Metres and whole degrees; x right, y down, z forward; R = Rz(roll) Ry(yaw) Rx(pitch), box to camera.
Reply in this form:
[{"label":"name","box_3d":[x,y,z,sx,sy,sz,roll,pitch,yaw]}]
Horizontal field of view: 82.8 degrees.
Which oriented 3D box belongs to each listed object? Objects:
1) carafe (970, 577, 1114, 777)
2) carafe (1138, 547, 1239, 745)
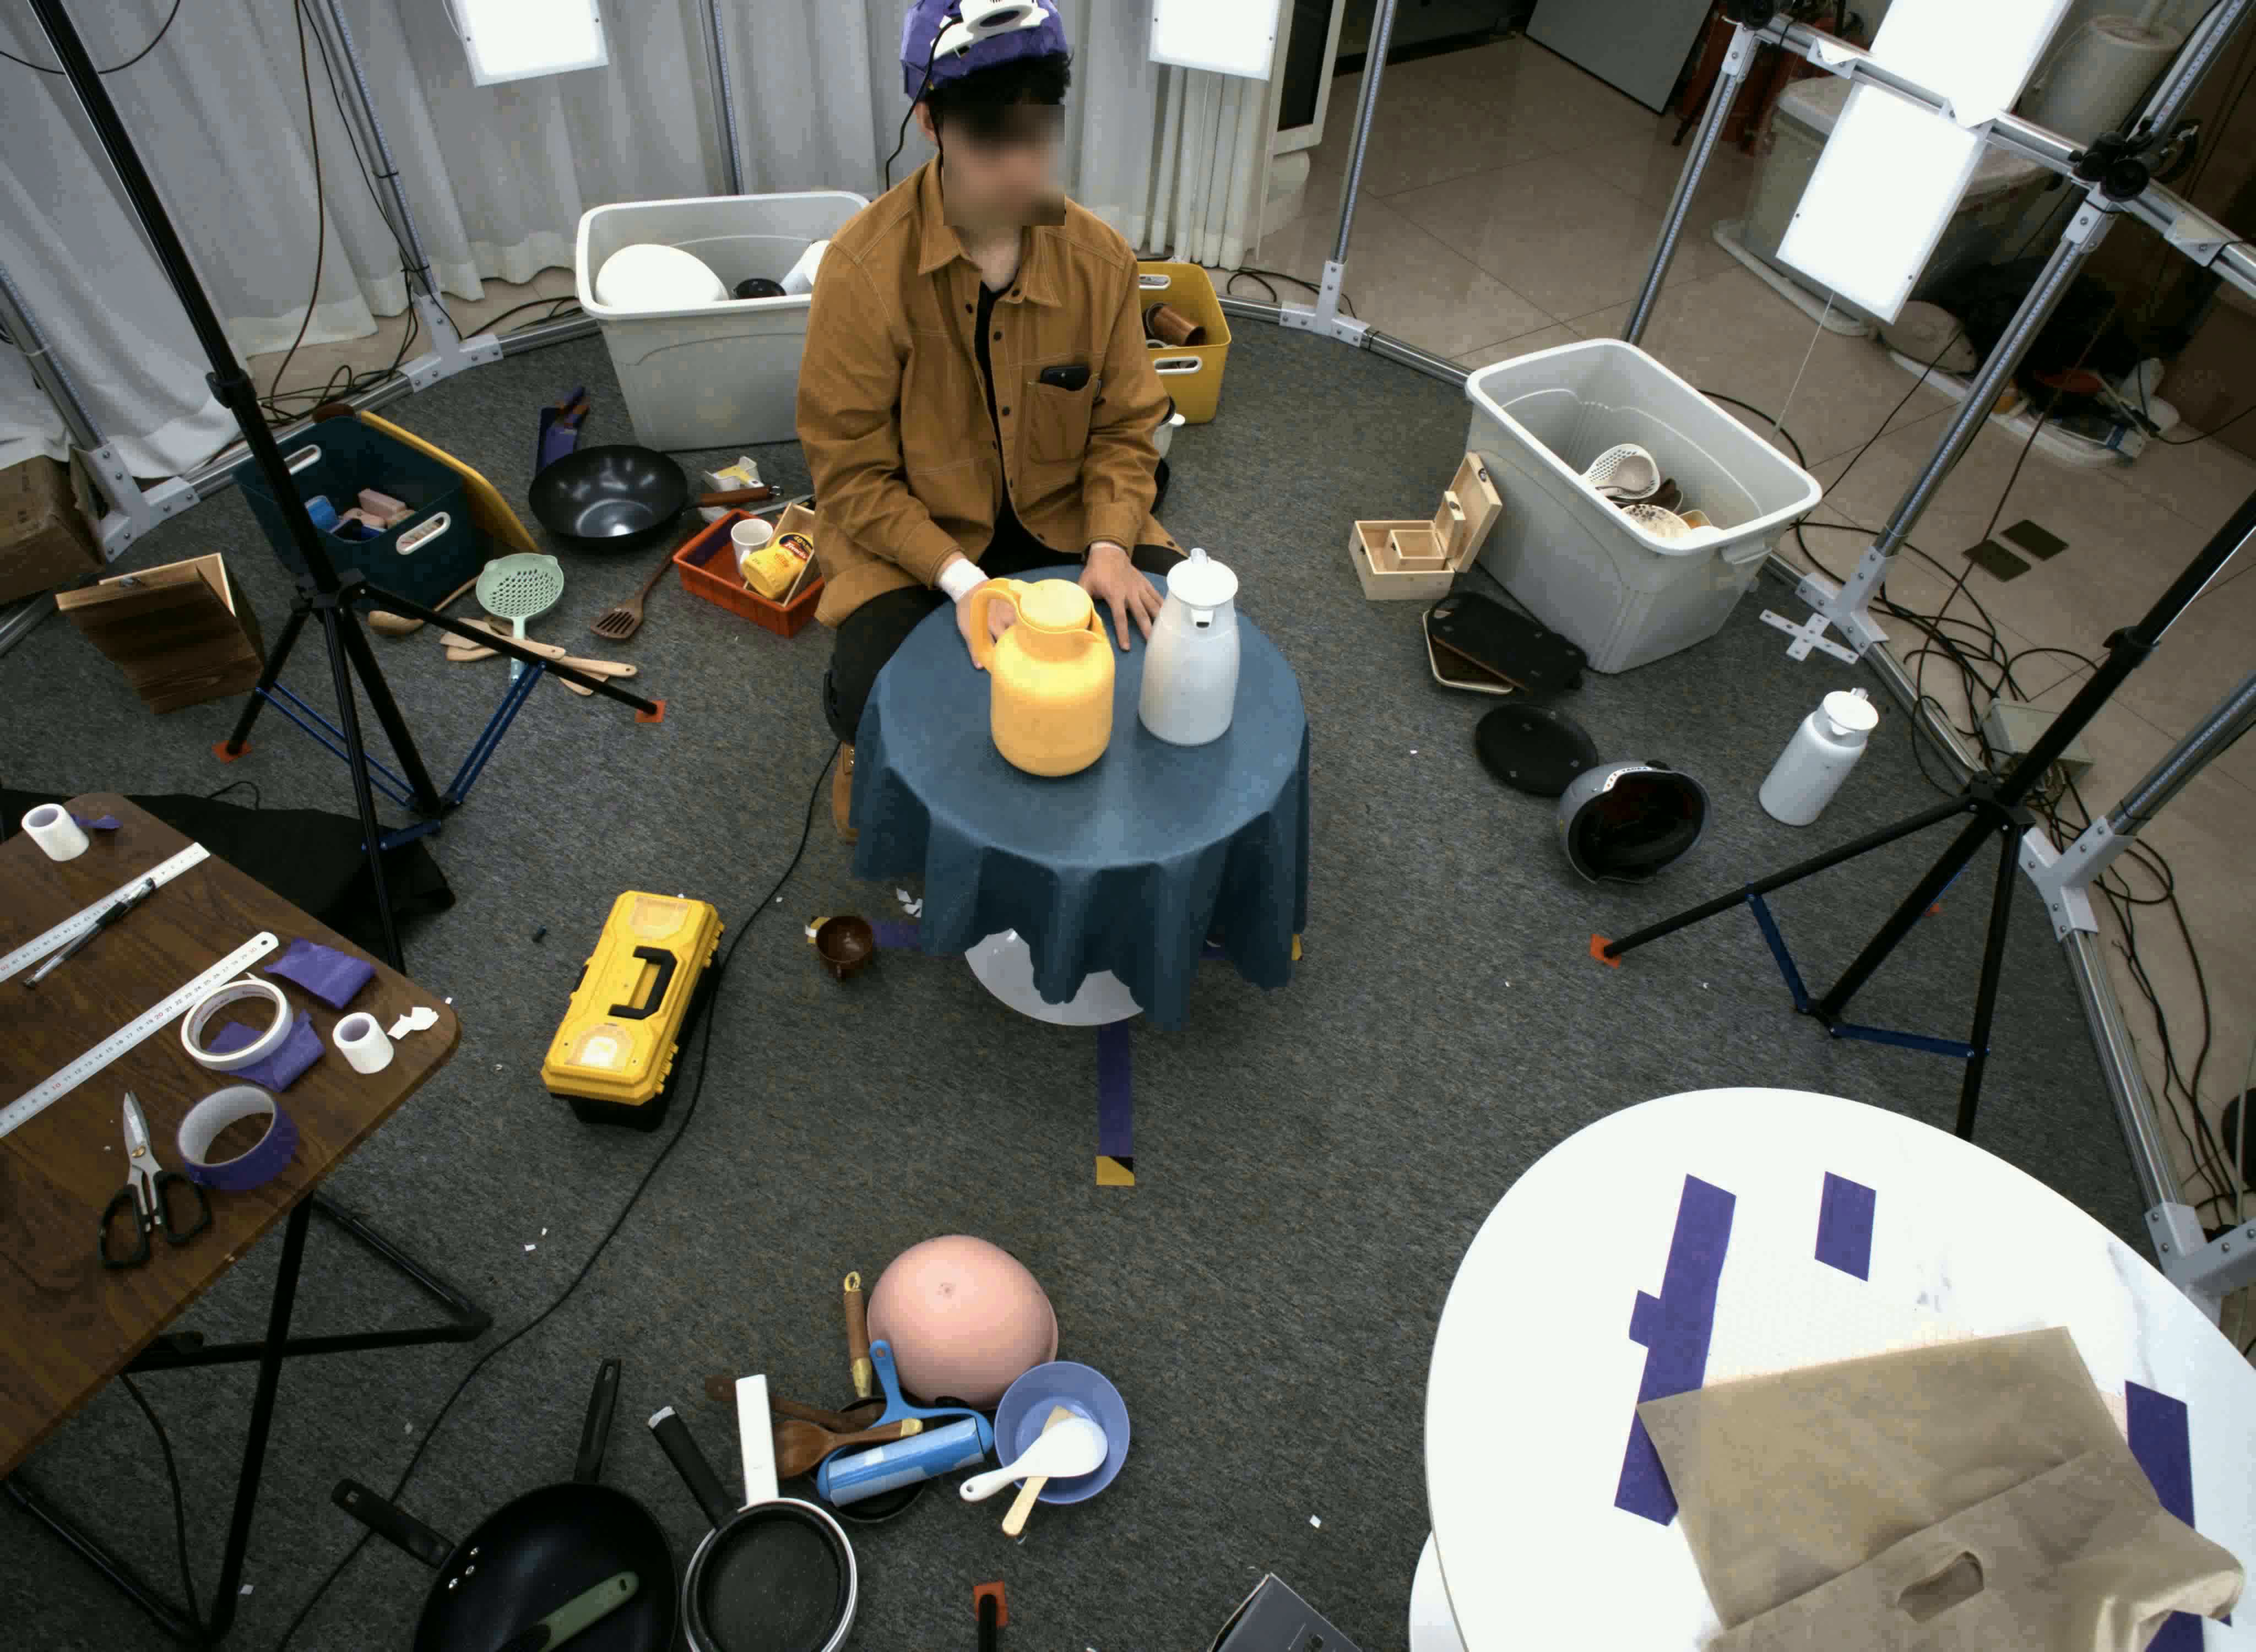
[{"label":"carafe","box_3d":[-0.115,-0.206,1.673,0.204,0.254,0.166,29,51,18]},{"label":"carafe","box_3d":[0.086,-0.254,1.734,0.132,0.242,0.172,2,49,-3]}]
